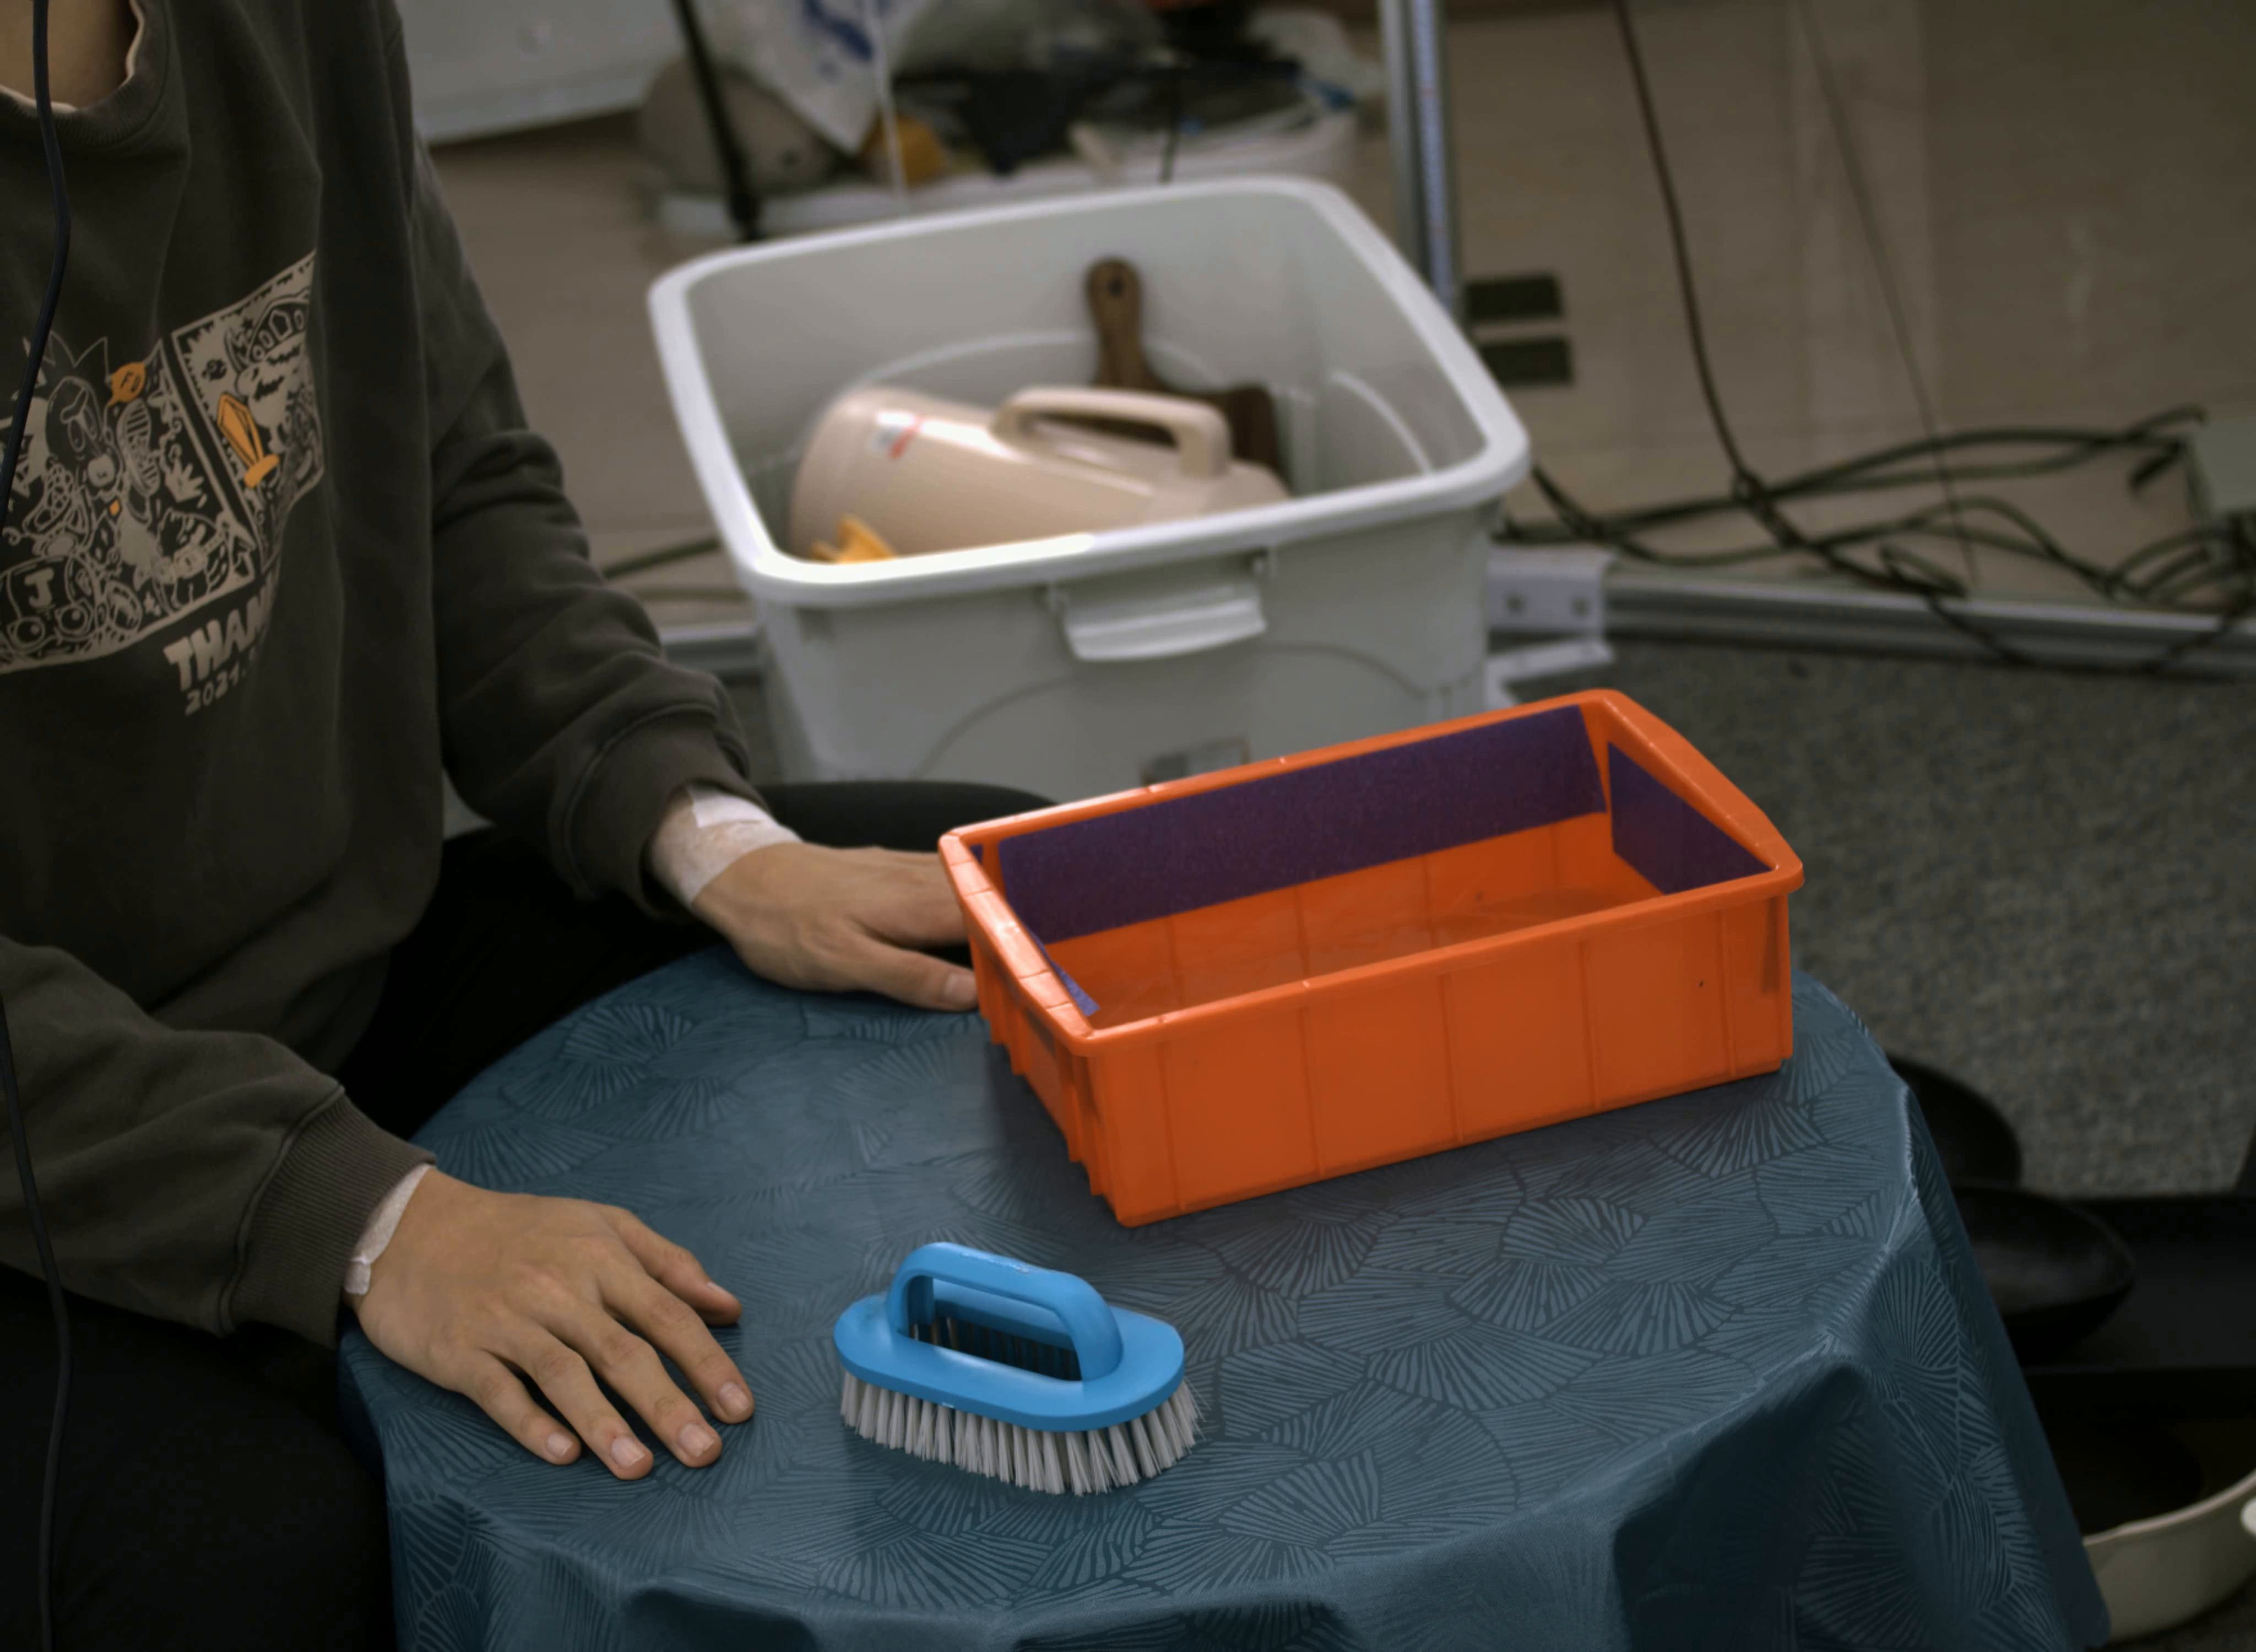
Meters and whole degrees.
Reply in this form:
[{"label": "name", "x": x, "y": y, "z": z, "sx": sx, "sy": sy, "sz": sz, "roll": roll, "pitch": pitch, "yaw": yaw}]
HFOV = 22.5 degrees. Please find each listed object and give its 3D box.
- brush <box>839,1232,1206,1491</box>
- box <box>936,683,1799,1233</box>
[{"label": "brush", "x": -0.042, "y": 0.178, "z": 1.995, "sx": 0.141, "sy": 0.065, "sz": 0.083, "roll": 12, "pitch": 36, "yaw": 37}, {"label": "box", "x": 0.093, "y": 0.051, "z": 2.210, "sx": 0.303, "sy": 0.098, "sz": 0.204, "roll": -12, "pitch": 26, "yaw": -12}]
